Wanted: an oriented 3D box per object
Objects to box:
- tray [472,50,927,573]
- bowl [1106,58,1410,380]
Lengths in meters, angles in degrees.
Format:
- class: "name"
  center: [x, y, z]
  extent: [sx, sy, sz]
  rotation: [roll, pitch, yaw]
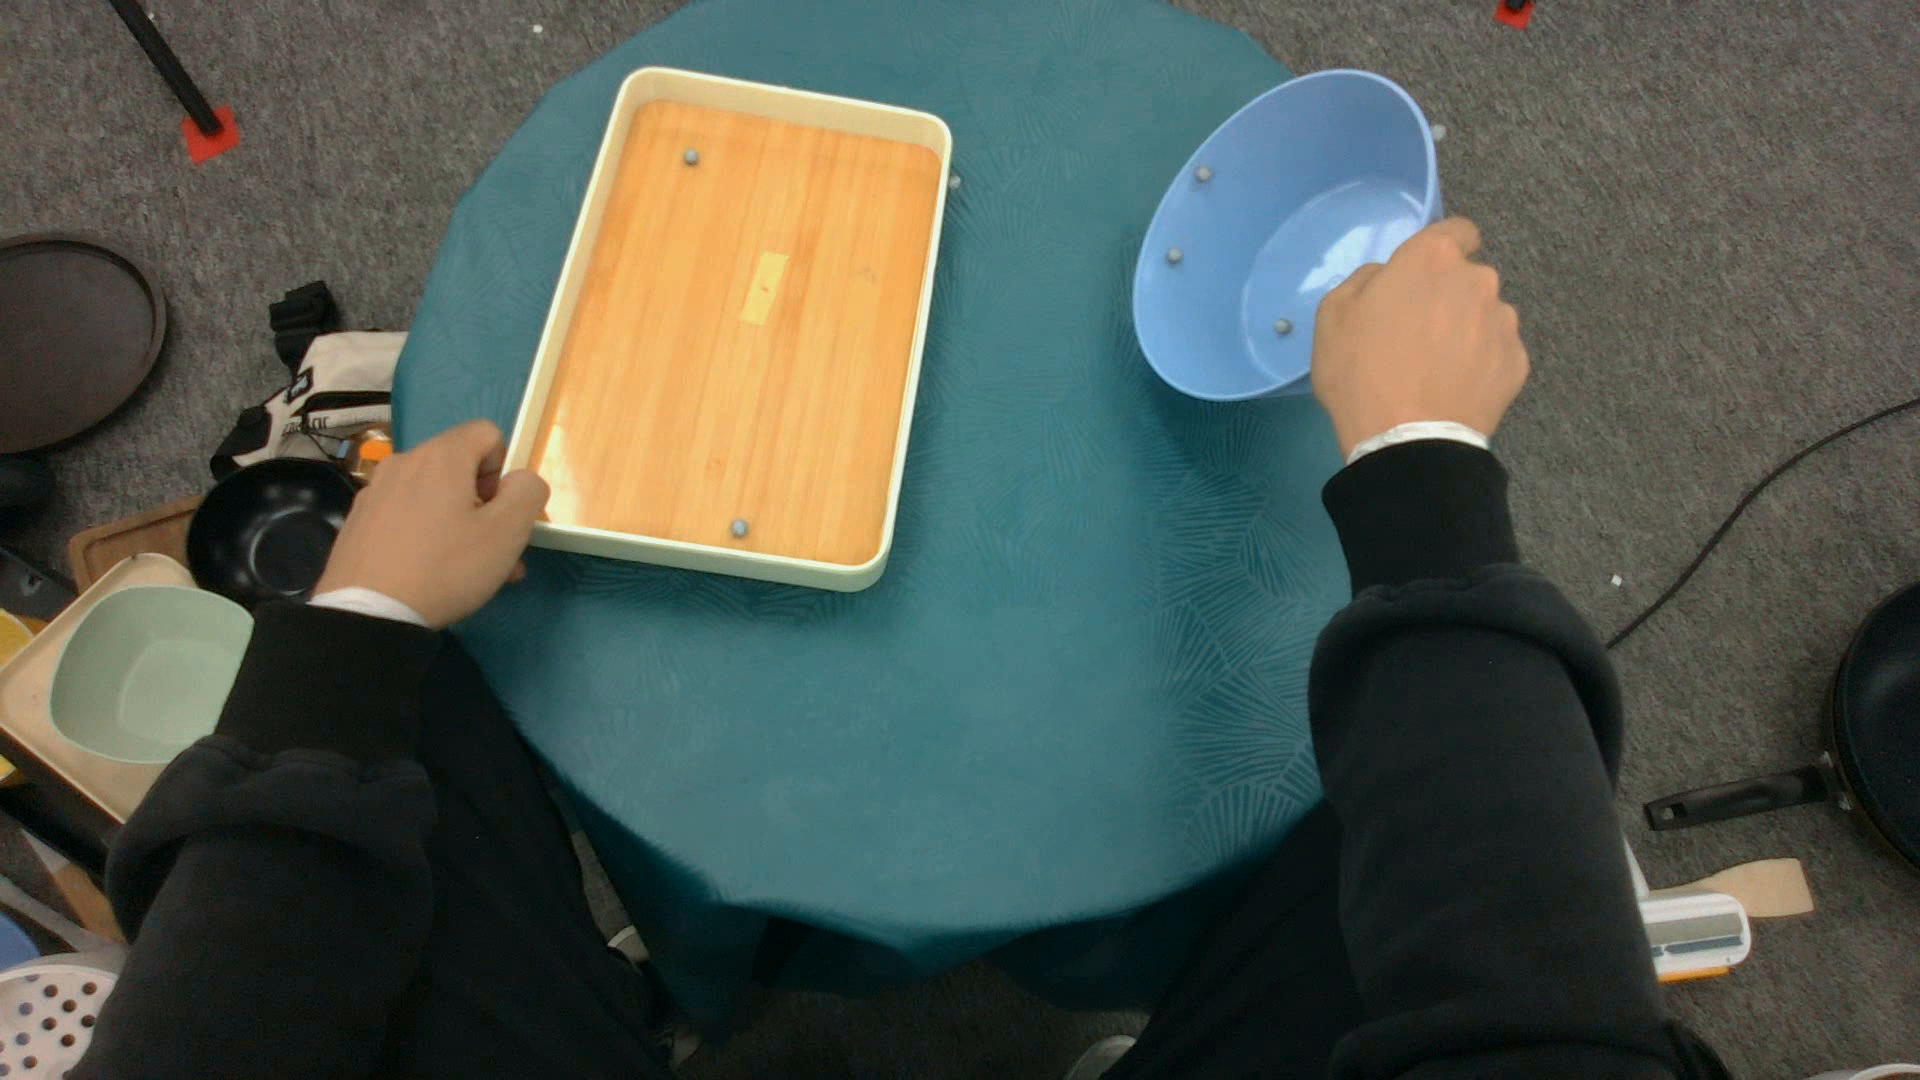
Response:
- class: "tray"
  center: [-0.127, -0.131, 0.732]
  extent: [0.191, 0.027, 0.301]
  rotation: [8, 63, -4]
- class: "bowl"
  center: [0.163, -0.153, 0.713]
  extent: [0.070, 0.175, 0.176]
  rotation: [24, 61, -40]
